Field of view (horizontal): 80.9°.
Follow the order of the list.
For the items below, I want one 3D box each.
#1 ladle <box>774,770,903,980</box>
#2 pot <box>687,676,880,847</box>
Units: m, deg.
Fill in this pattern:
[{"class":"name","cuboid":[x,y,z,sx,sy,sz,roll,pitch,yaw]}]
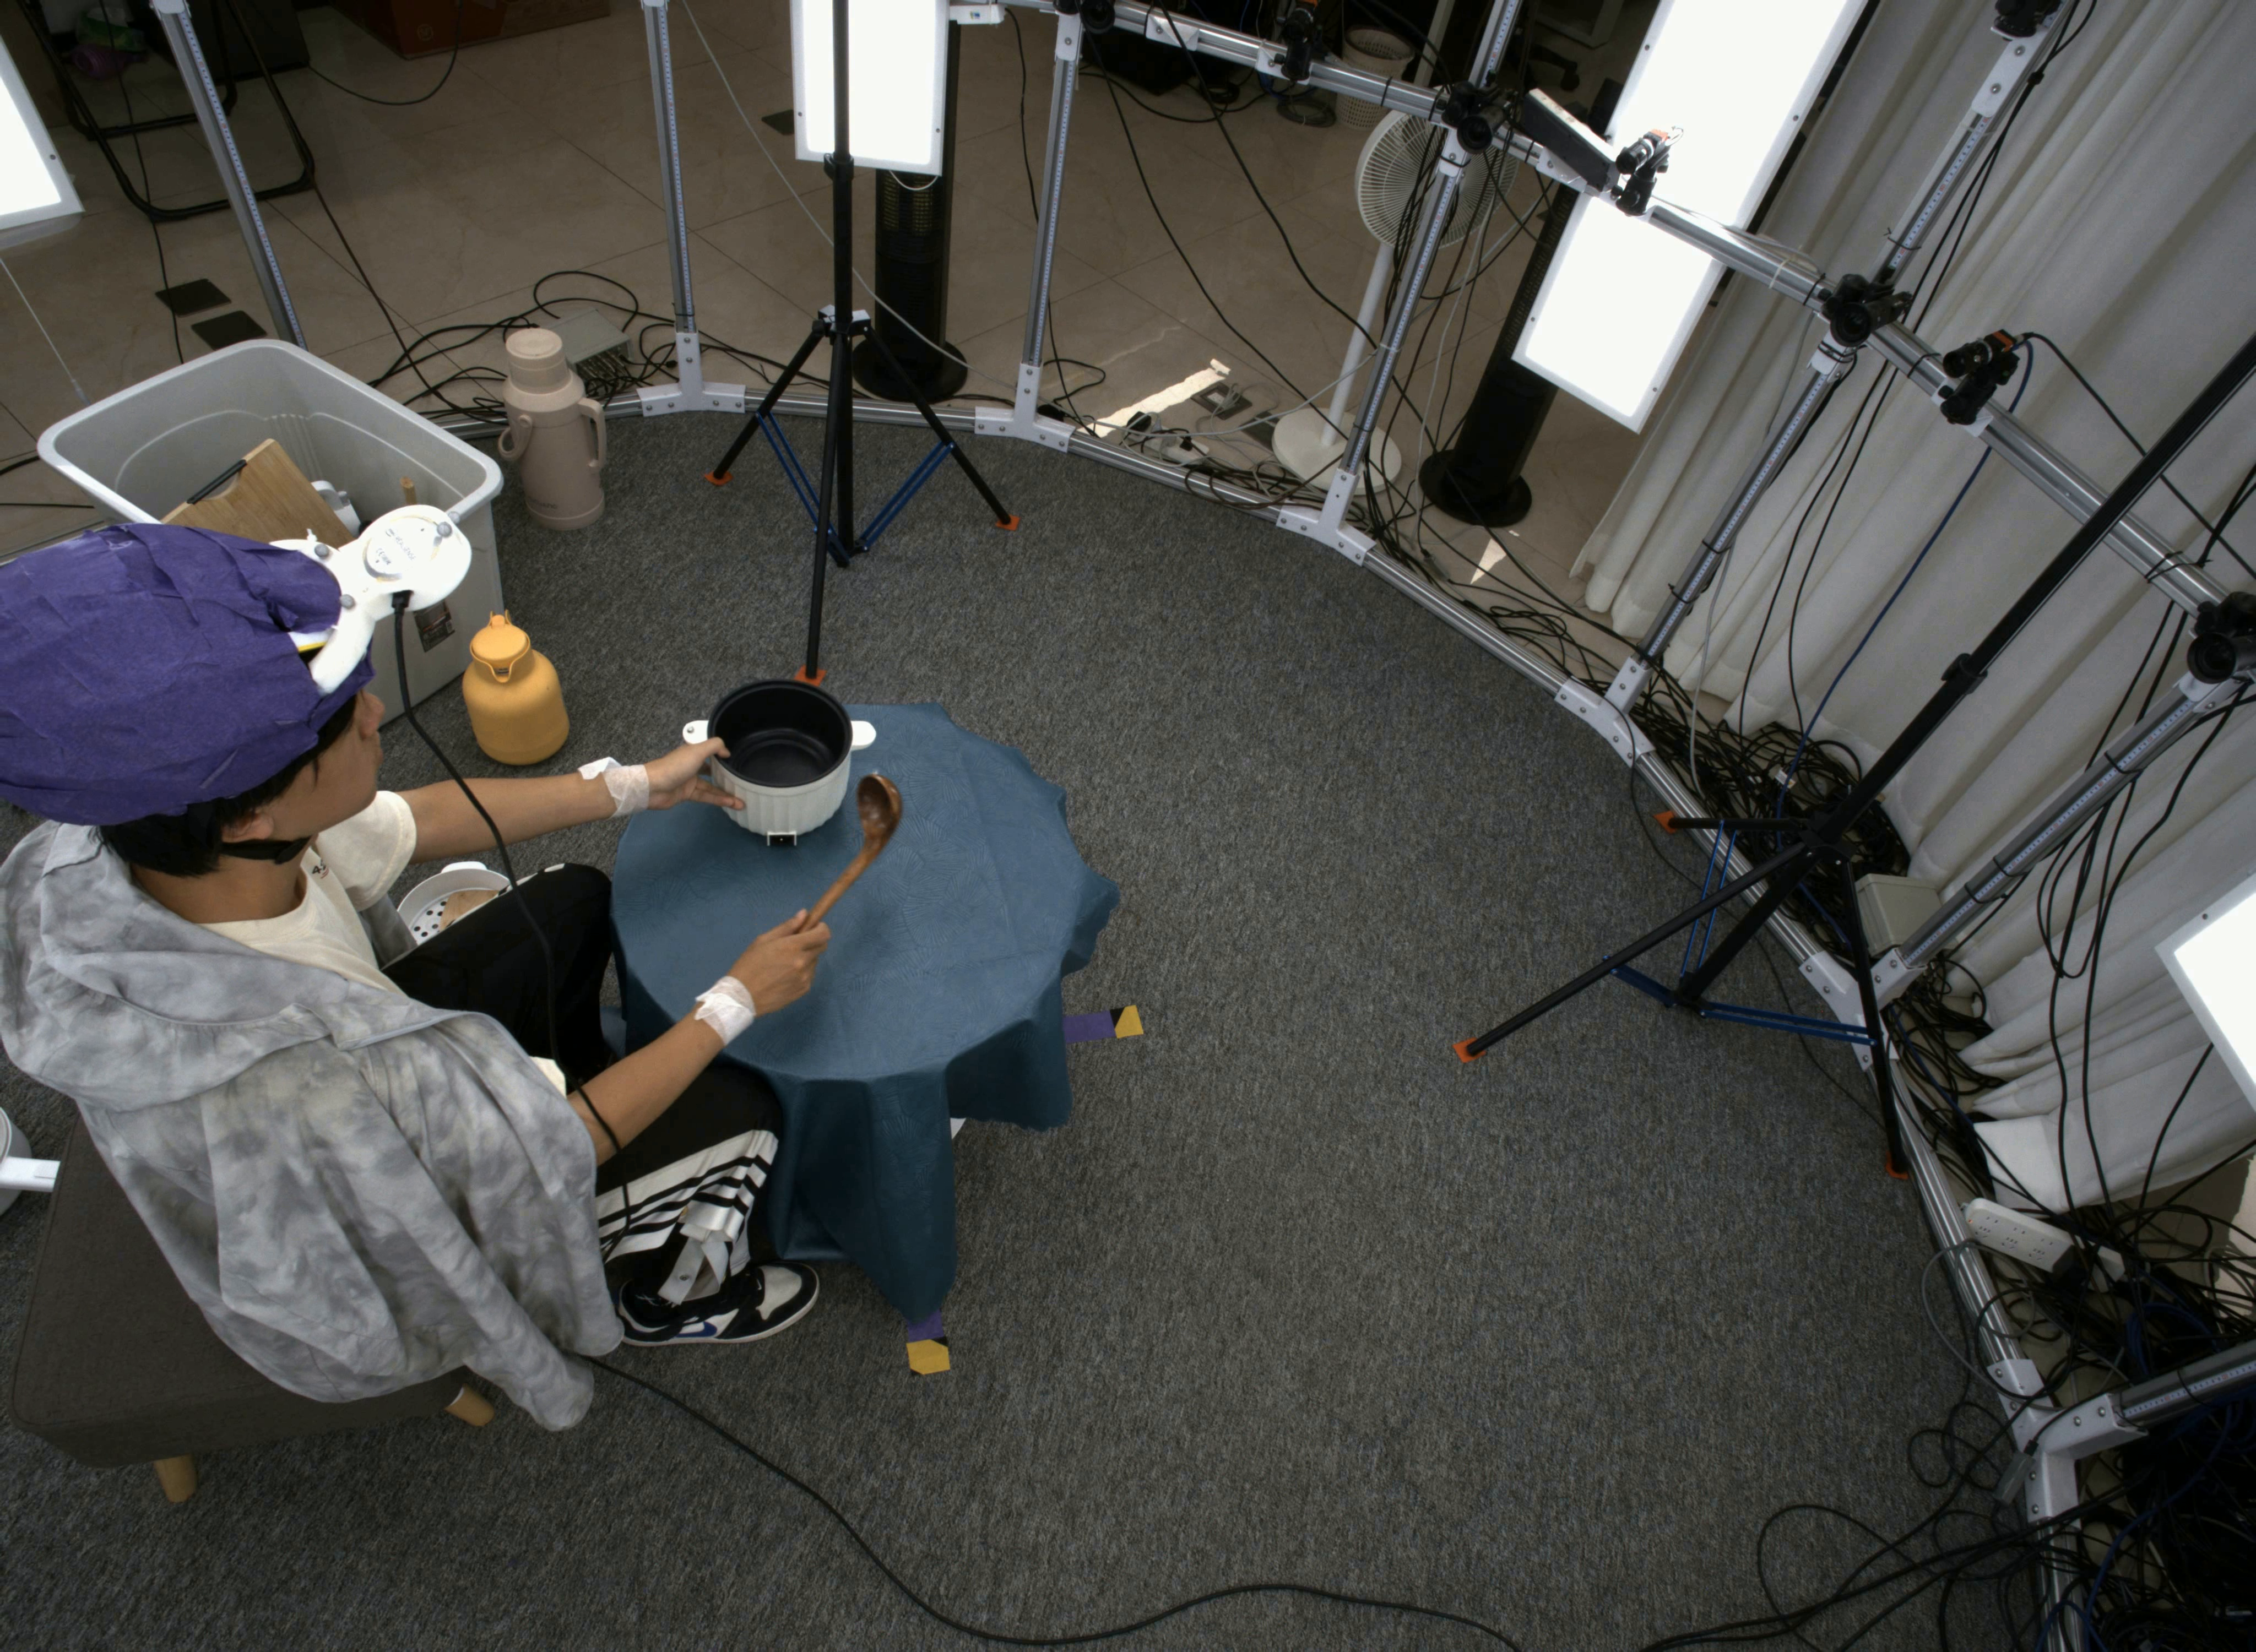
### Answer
[{"class":"ladle","cuboid":[-0.356,0.050,1.544,0.079,0.080,0.273,47,60,-24]},{"class":"pot","cuboid":[-0.449,-0.087,1.691,0.241,0.145,0.187,-1,58,-18]}]
